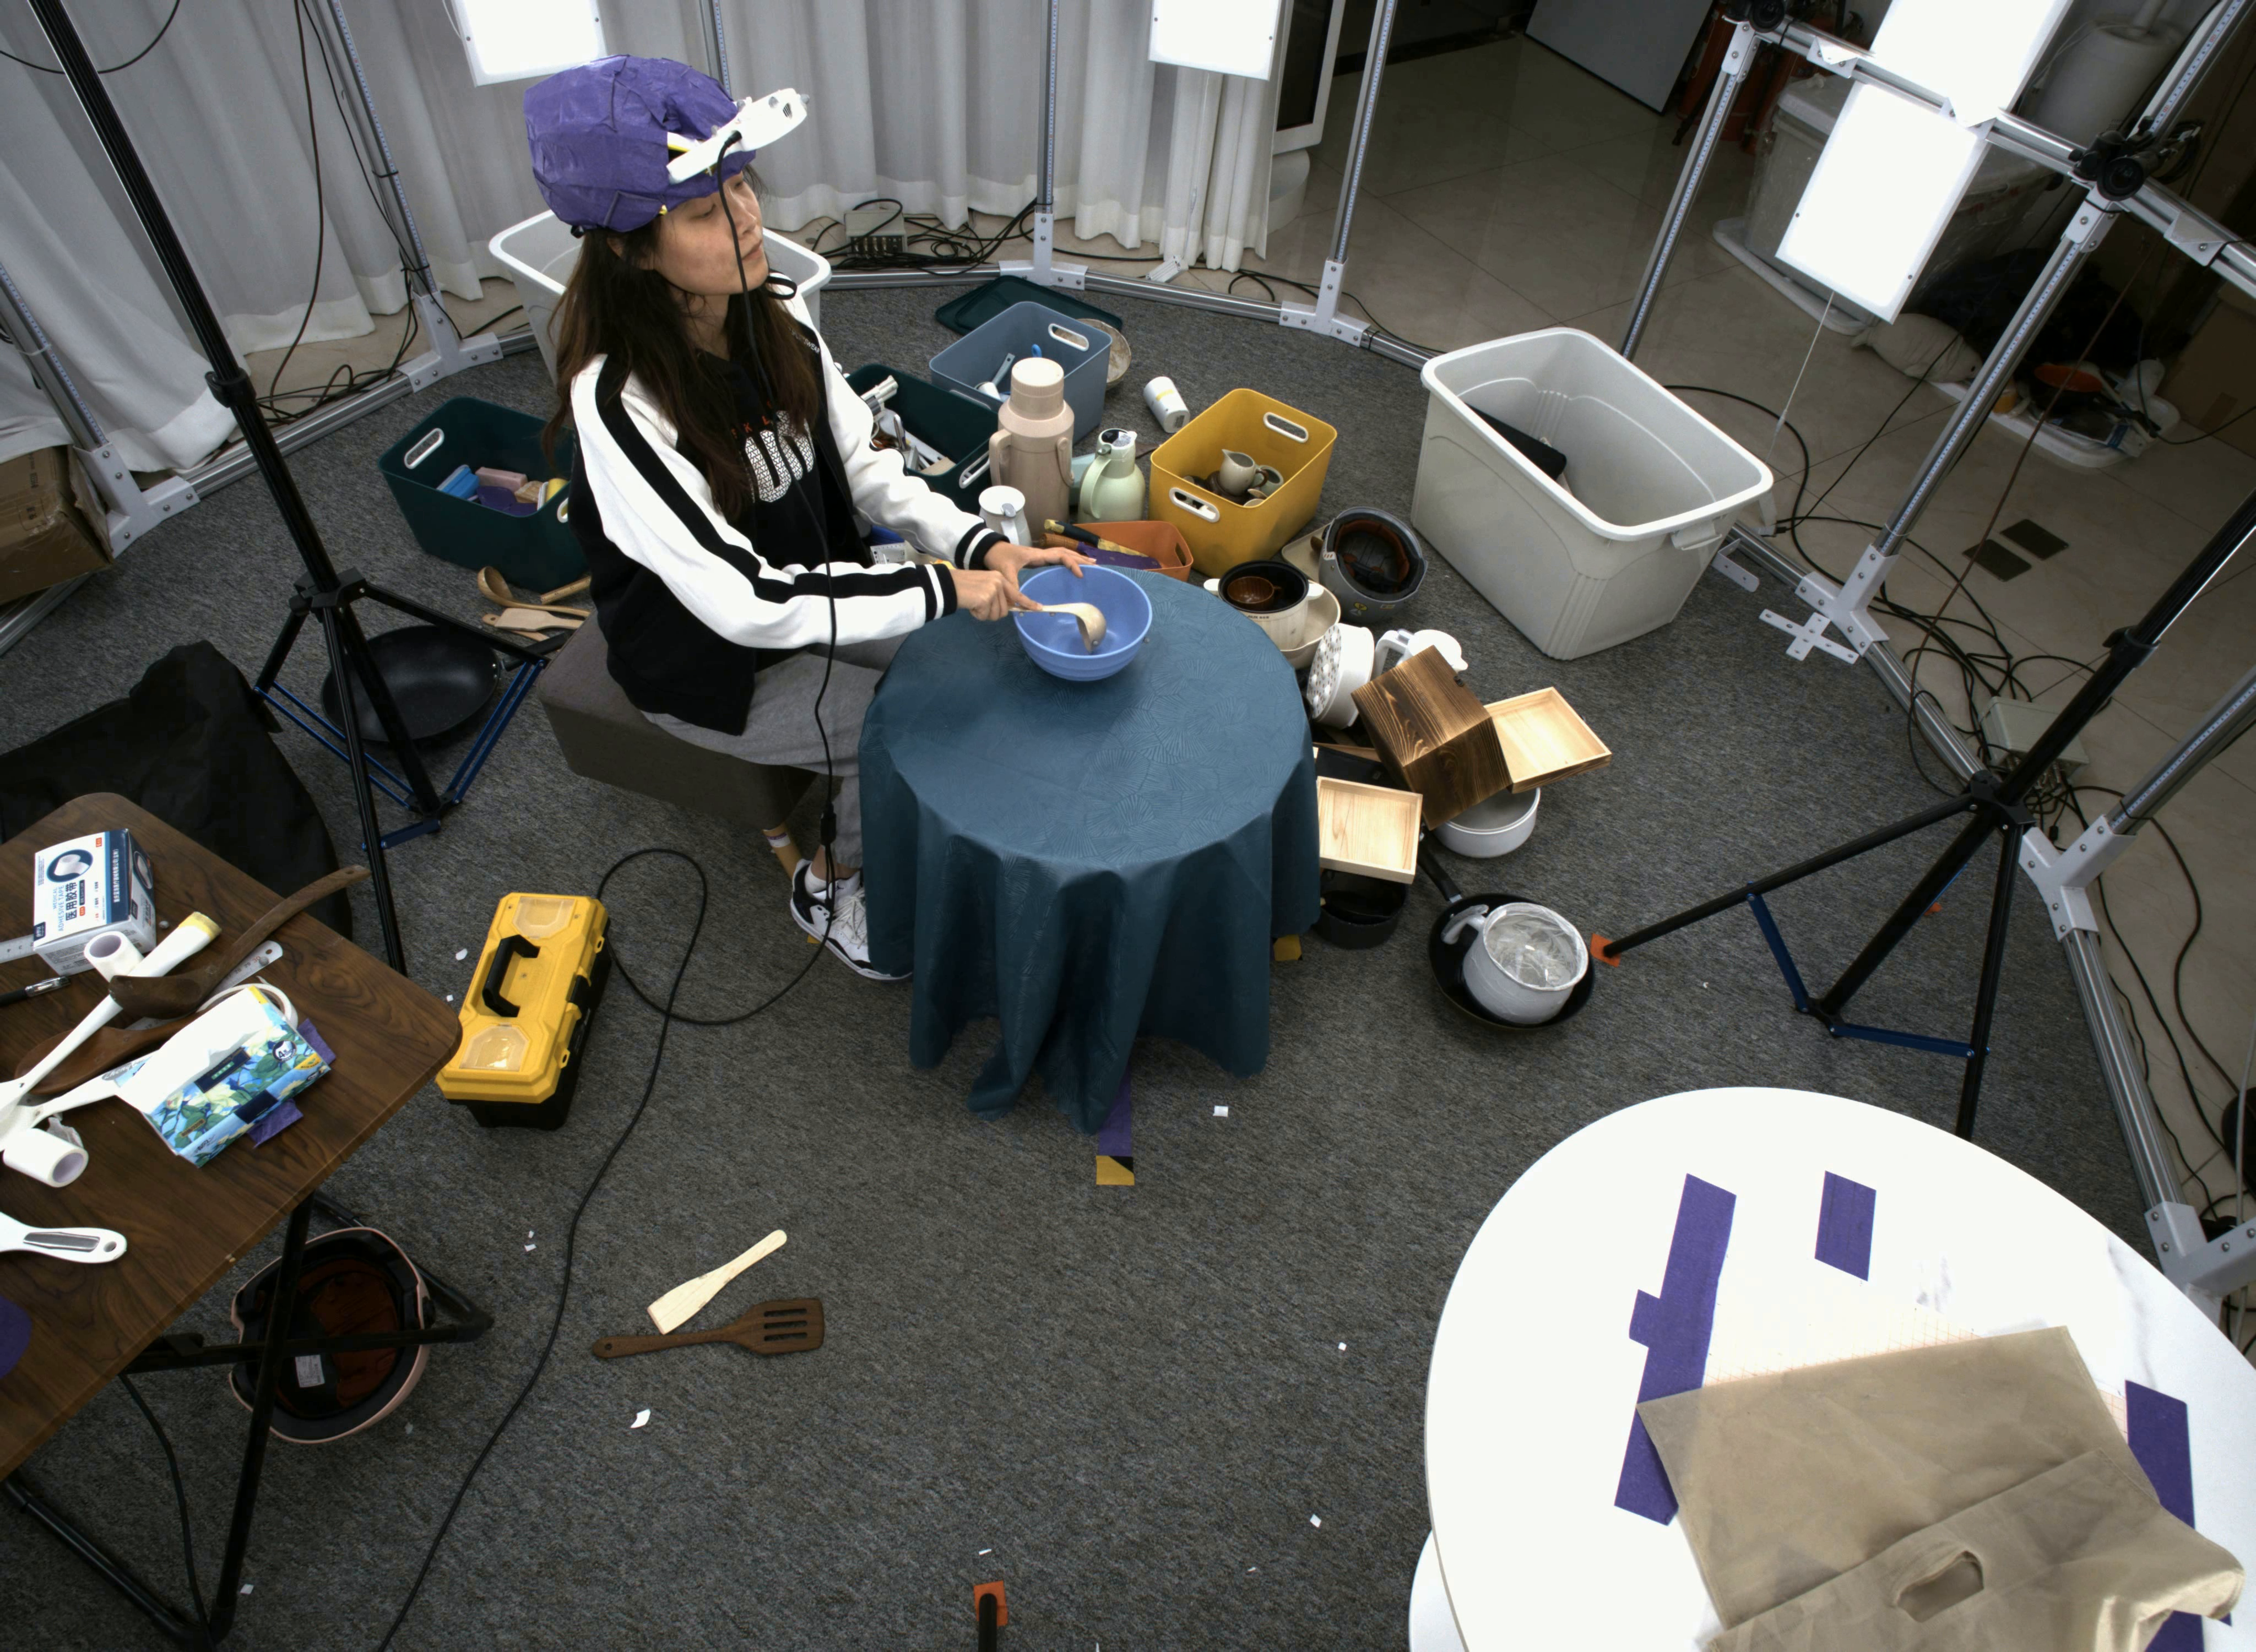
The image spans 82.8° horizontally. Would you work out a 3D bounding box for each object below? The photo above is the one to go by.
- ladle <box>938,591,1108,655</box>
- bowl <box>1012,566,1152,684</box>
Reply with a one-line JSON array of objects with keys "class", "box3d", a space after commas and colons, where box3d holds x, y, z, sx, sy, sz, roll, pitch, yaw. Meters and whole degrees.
[{"class": "ladle", "box3d": [-0.151, -0.286, 1.808, 0.253, 0.071, 0.074, 1, 46, -24]}, {"class": "bowl", "box3d": [-0.066, -0.273, 1.846, 0.196, 0.093, 0.201, 1, 50, -2]}]
